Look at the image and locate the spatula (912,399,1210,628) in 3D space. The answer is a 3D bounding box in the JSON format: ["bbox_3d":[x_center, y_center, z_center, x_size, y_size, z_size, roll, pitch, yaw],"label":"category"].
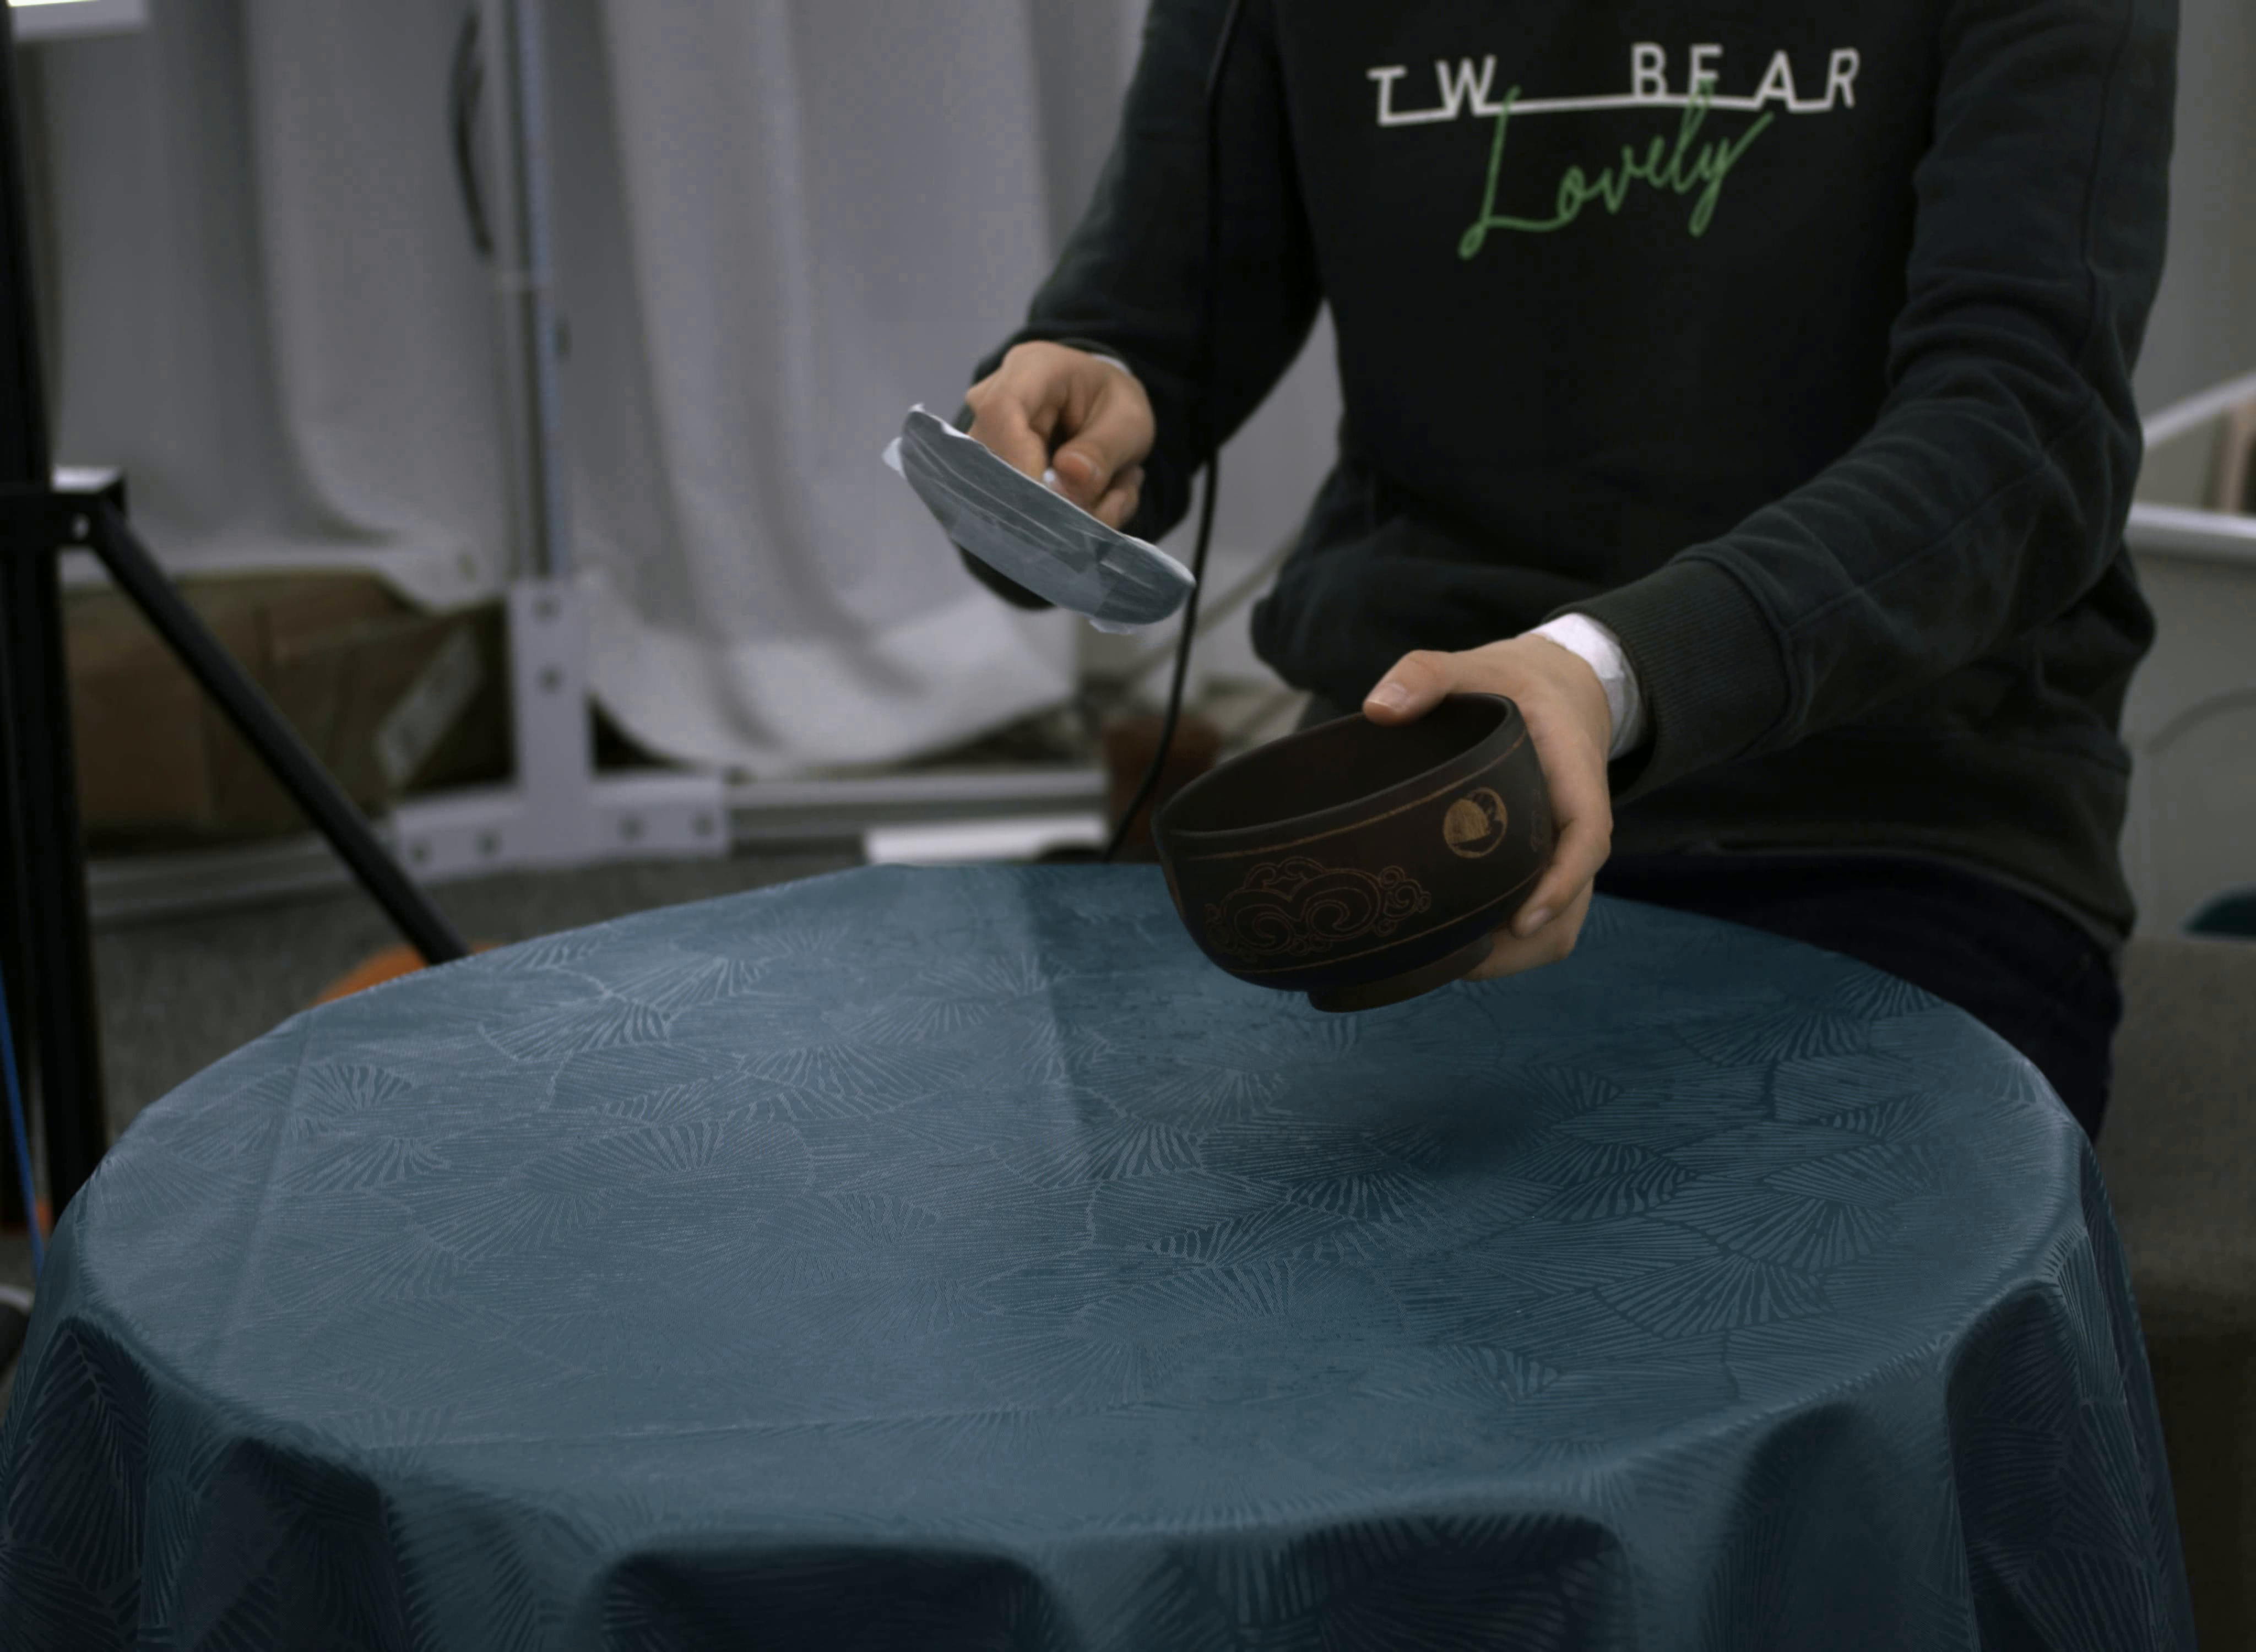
[{"bbox_3d":[-0.015,-0.102,1.701,0.098,0.045,0.364,31,8,0],"label":"spatula"}]

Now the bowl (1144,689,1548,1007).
[{"bbox_3d":[0.069,0.012,1.571,0.118,0.070,0.118,-16,12,2],"label":"bowl"}]
